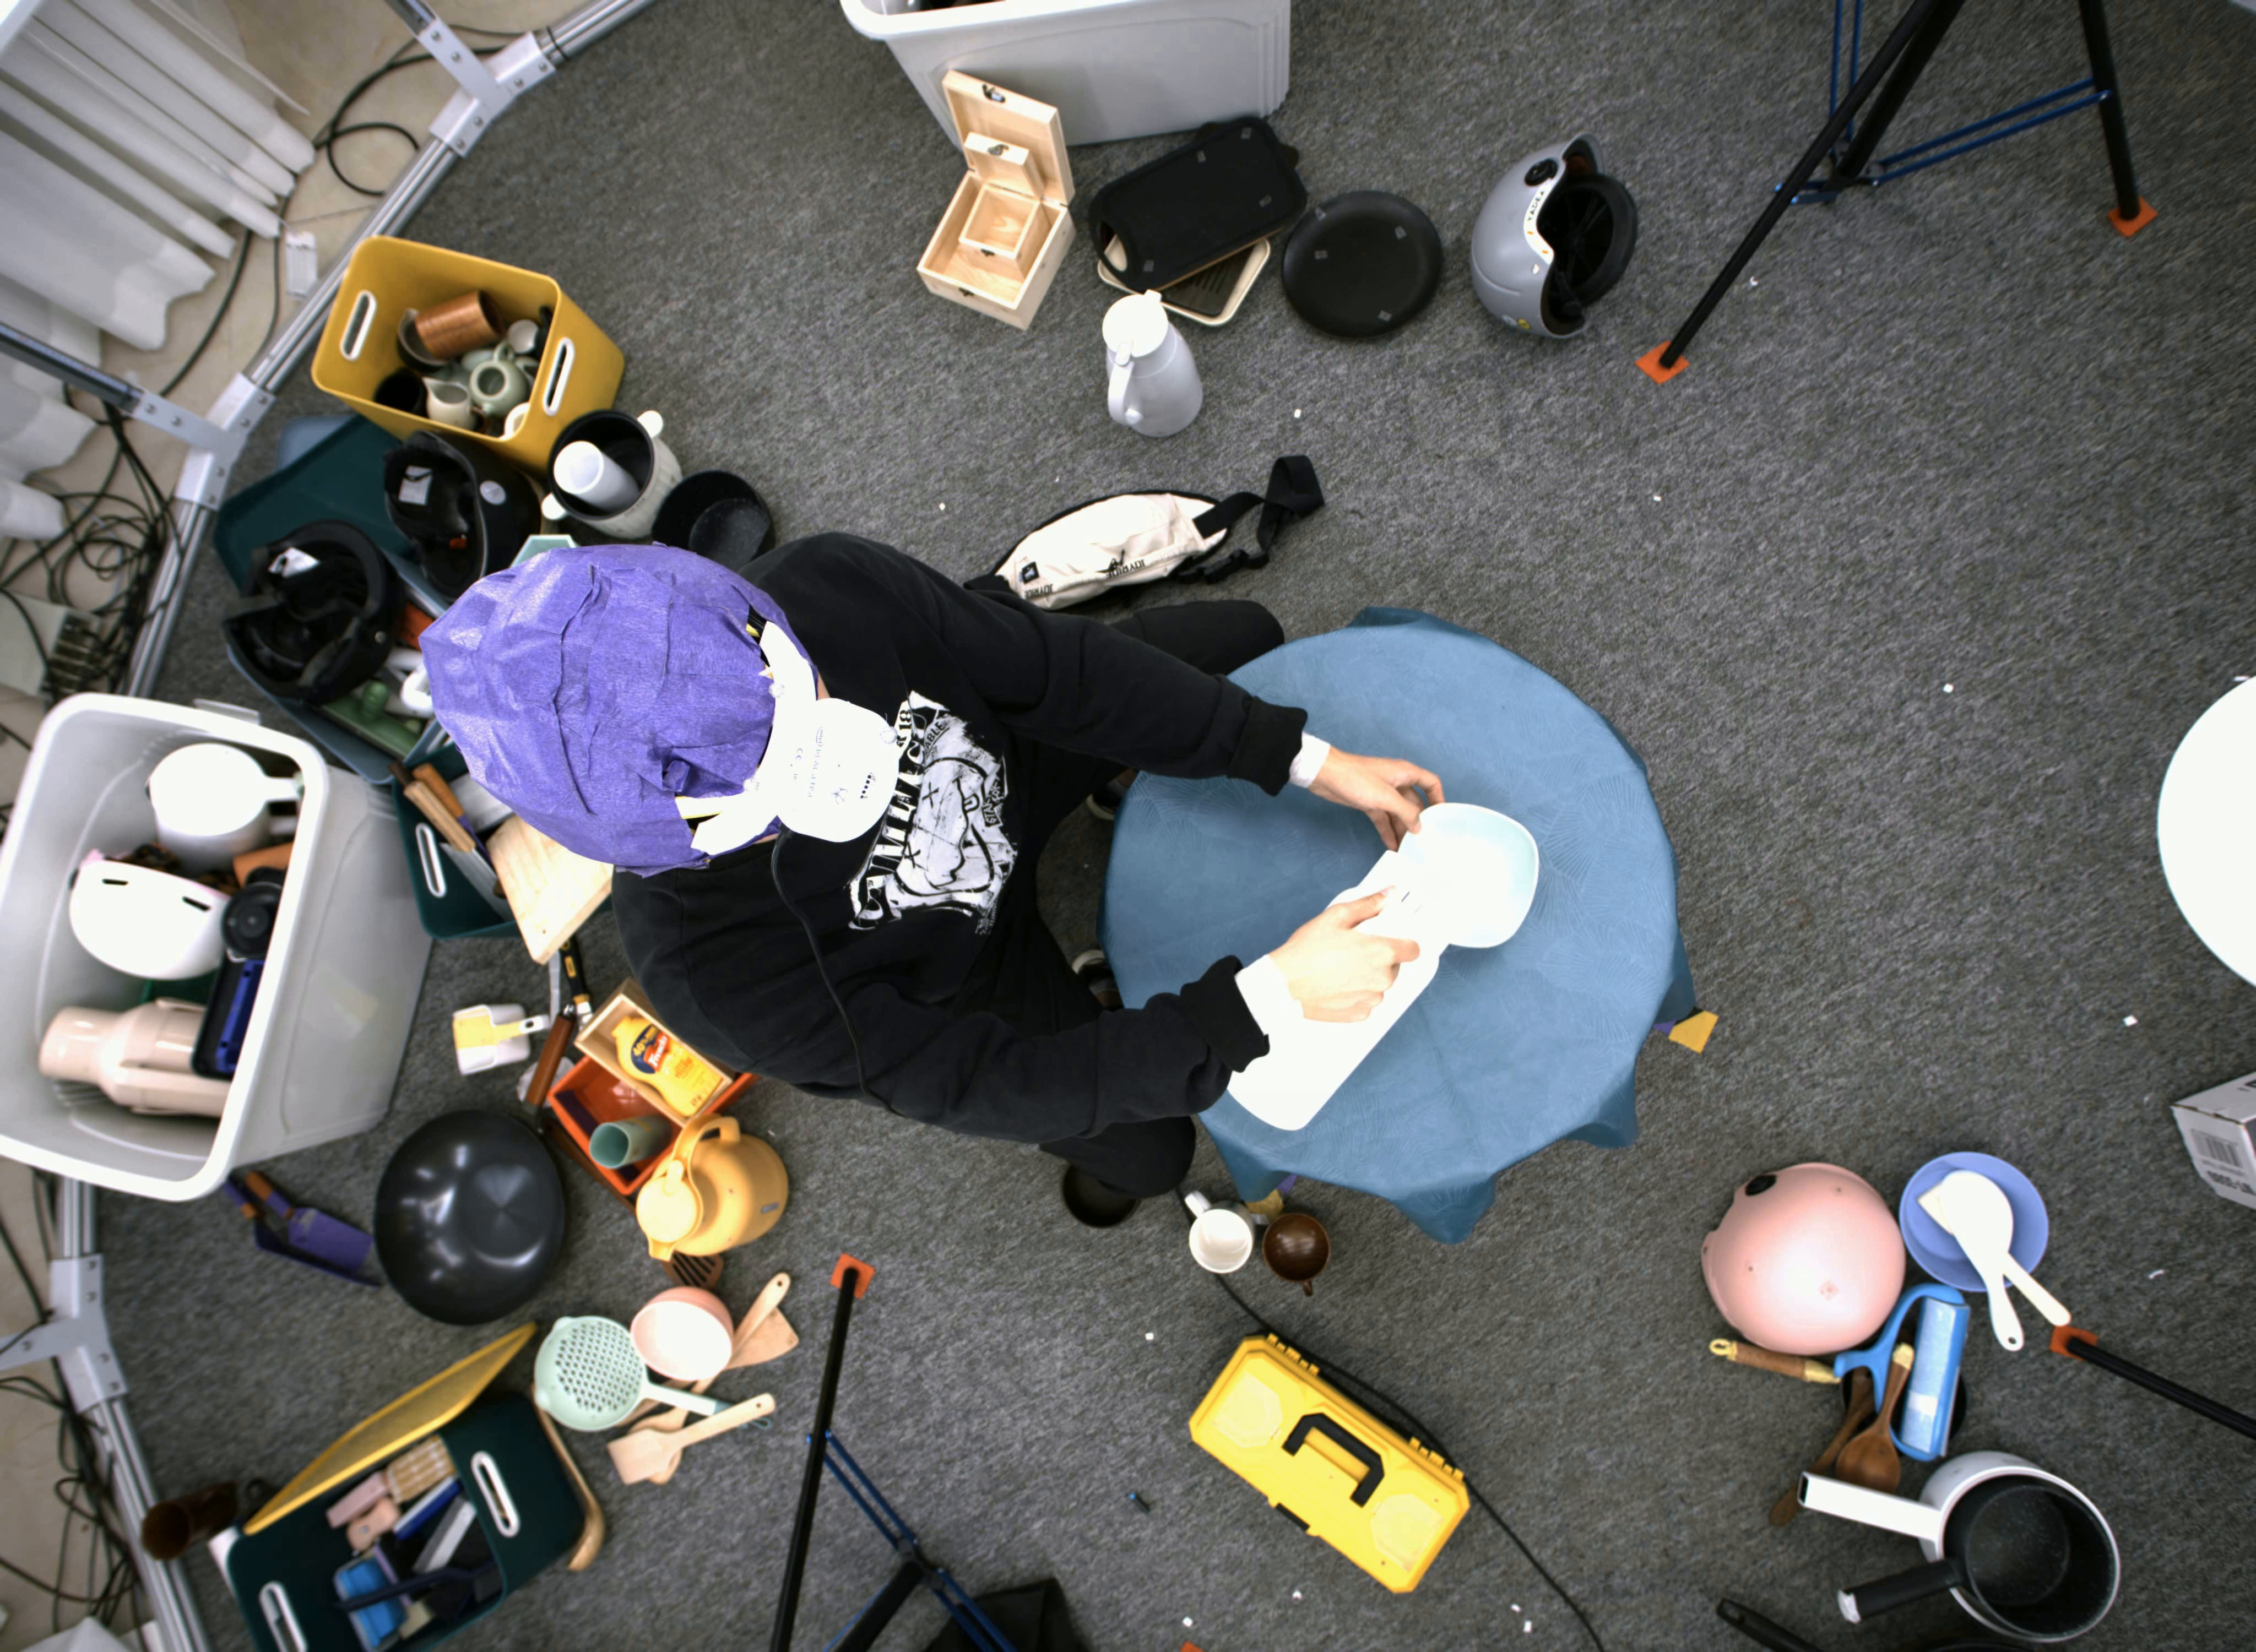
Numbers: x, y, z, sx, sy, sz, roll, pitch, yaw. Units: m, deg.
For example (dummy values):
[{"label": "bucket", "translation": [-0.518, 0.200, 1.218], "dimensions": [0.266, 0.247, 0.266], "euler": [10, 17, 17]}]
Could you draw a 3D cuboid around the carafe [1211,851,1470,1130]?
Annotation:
[{"label": "carafe", "translation": [0.195, 0.157, 1.292], "dimensions": [0.123, 0.171, 0.273], "euler": [42, 109, 9]}]

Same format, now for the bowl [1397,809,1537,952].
[{"label": "bowl", "translation": [0.341, 0.054, 1.394], "dimensions": [0.152, 0.058, 0.151], "euler": [0, 89, 15]}]
